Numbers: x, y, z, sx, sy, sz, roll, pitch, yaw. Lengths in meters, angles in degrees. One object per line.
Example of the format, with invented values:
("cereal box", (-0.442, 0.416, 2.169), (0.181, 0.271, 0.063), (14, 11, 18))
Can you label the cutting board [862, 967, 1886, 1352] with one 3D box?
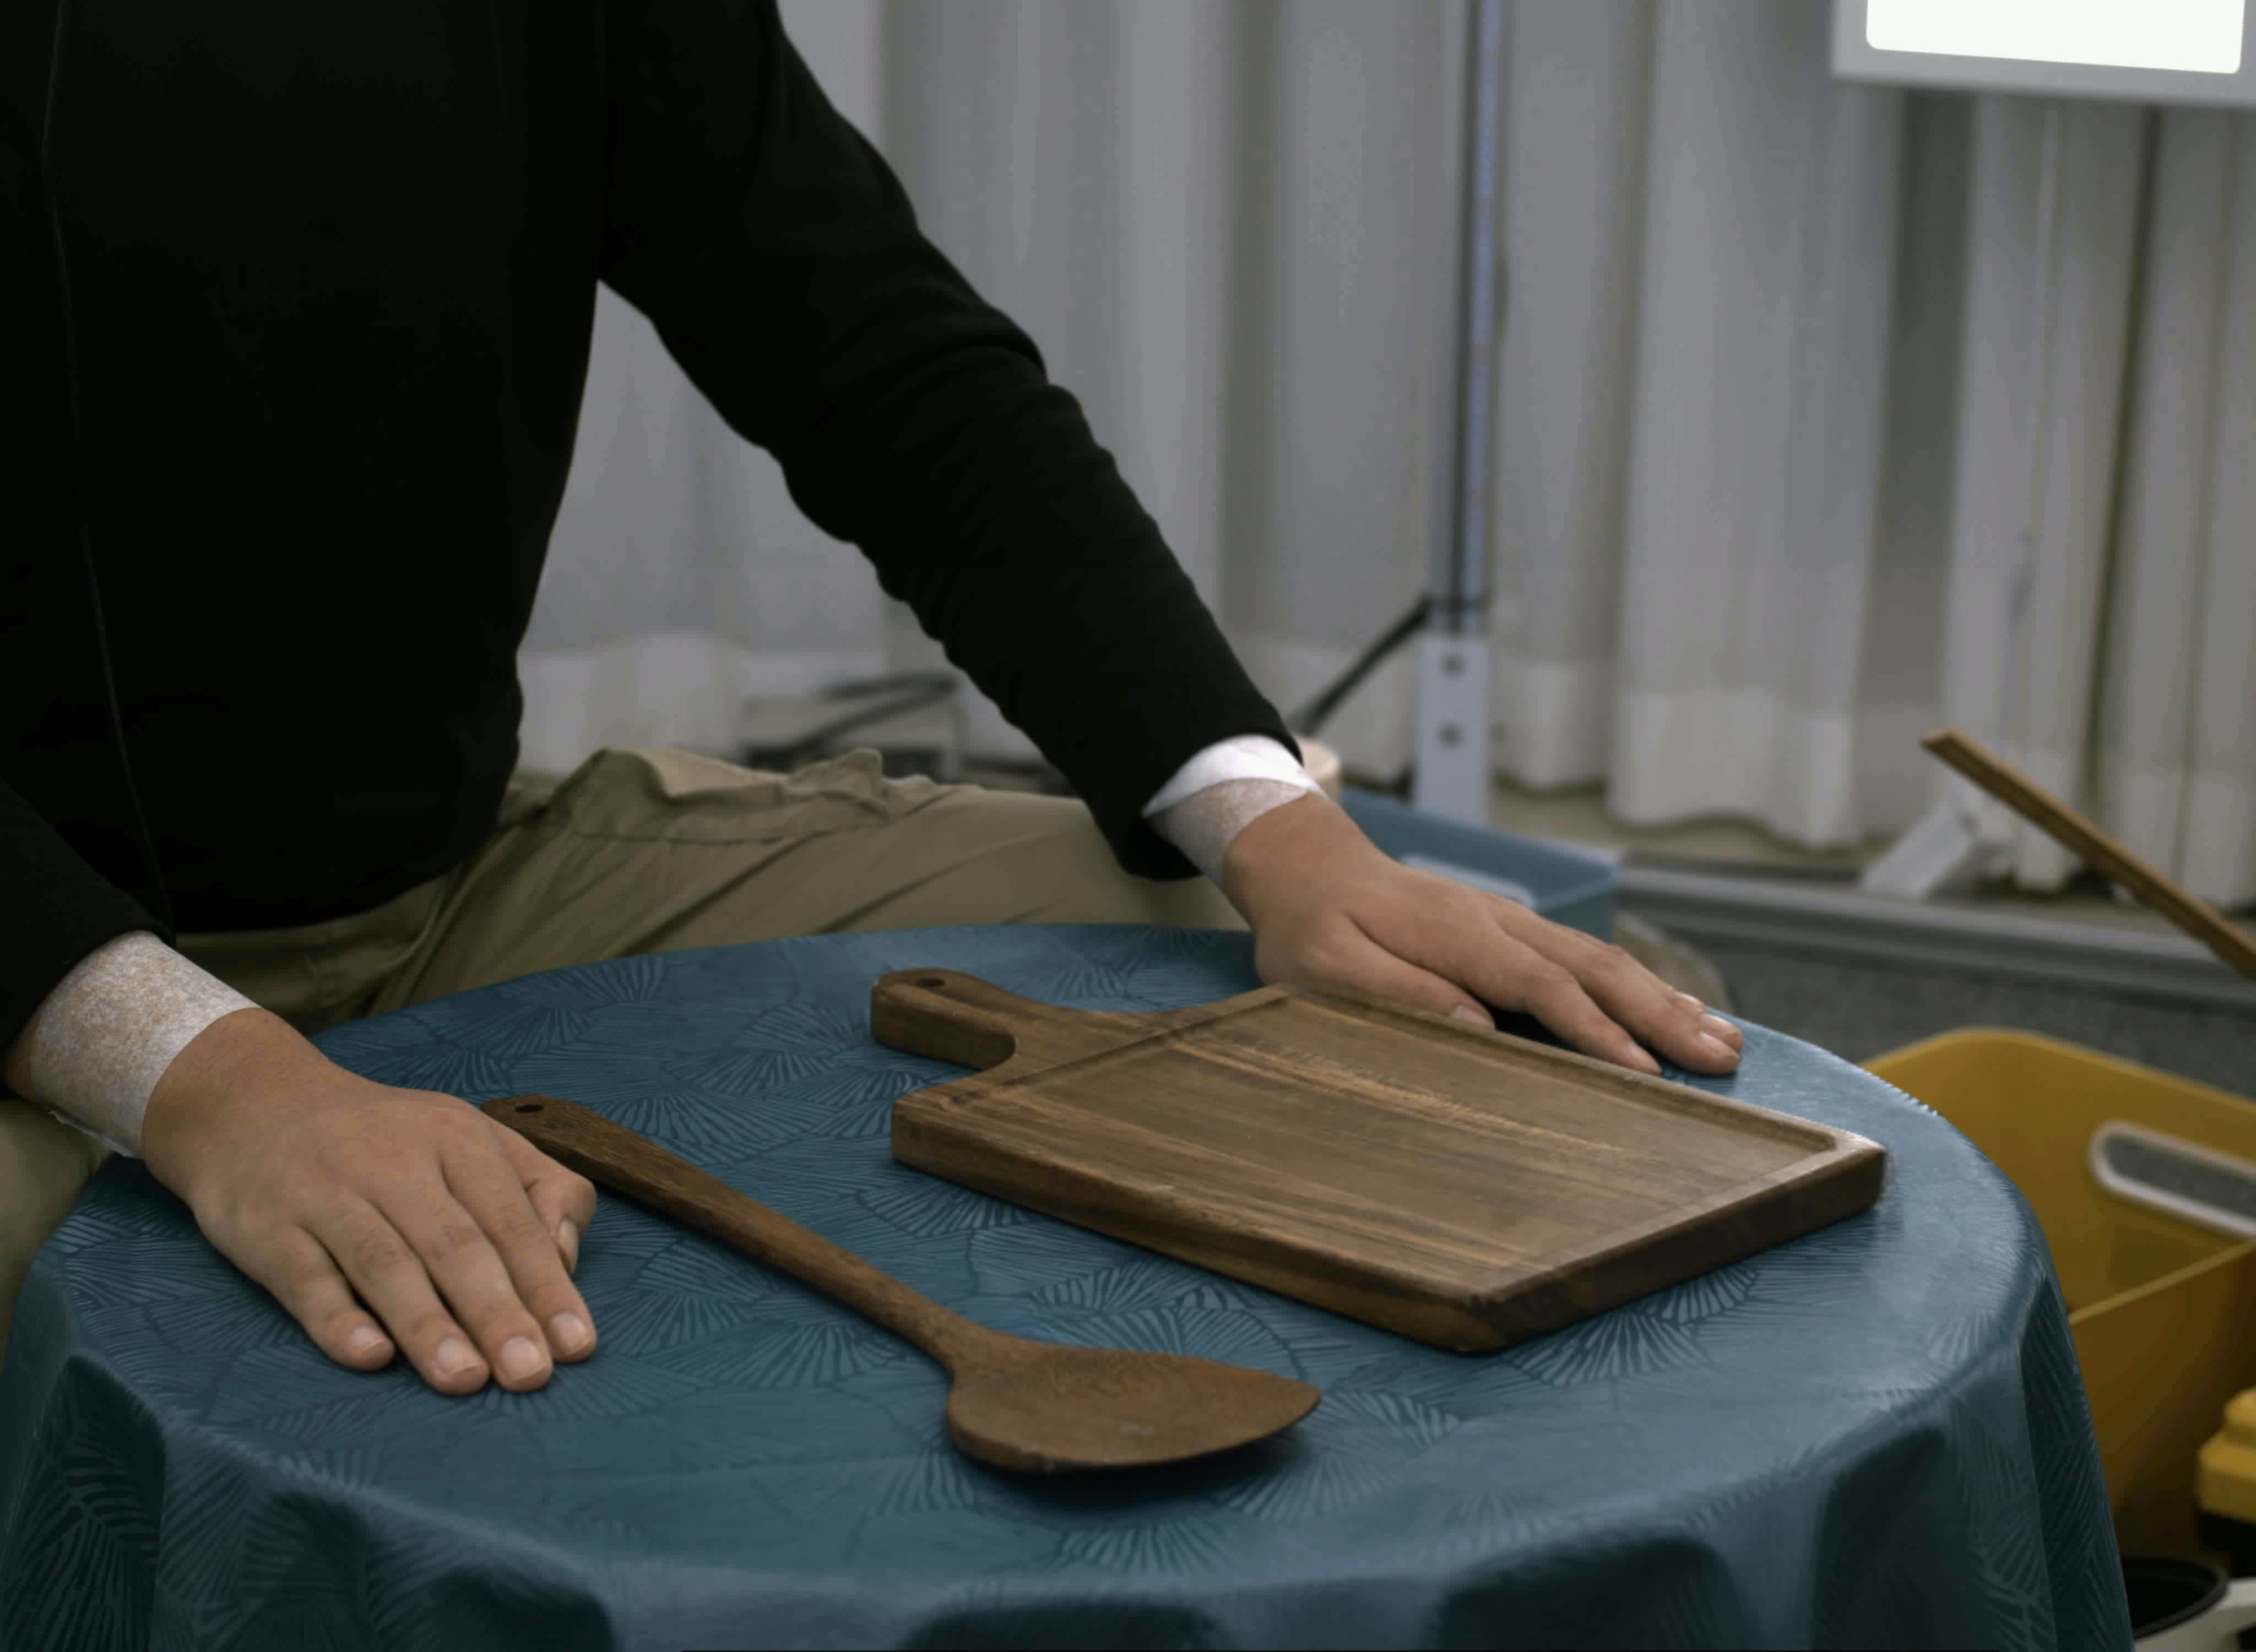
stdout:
("cutting board", (0.044, 0.090, 1.661), (0.347, 0.023, 0.202), (15, 20, 42))

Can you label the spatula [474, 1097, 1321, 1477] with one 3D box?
("spatula", (-0.090, 0.128, 1.534), (0.096, 0.016, 0.381), (-10, 18, -36))
